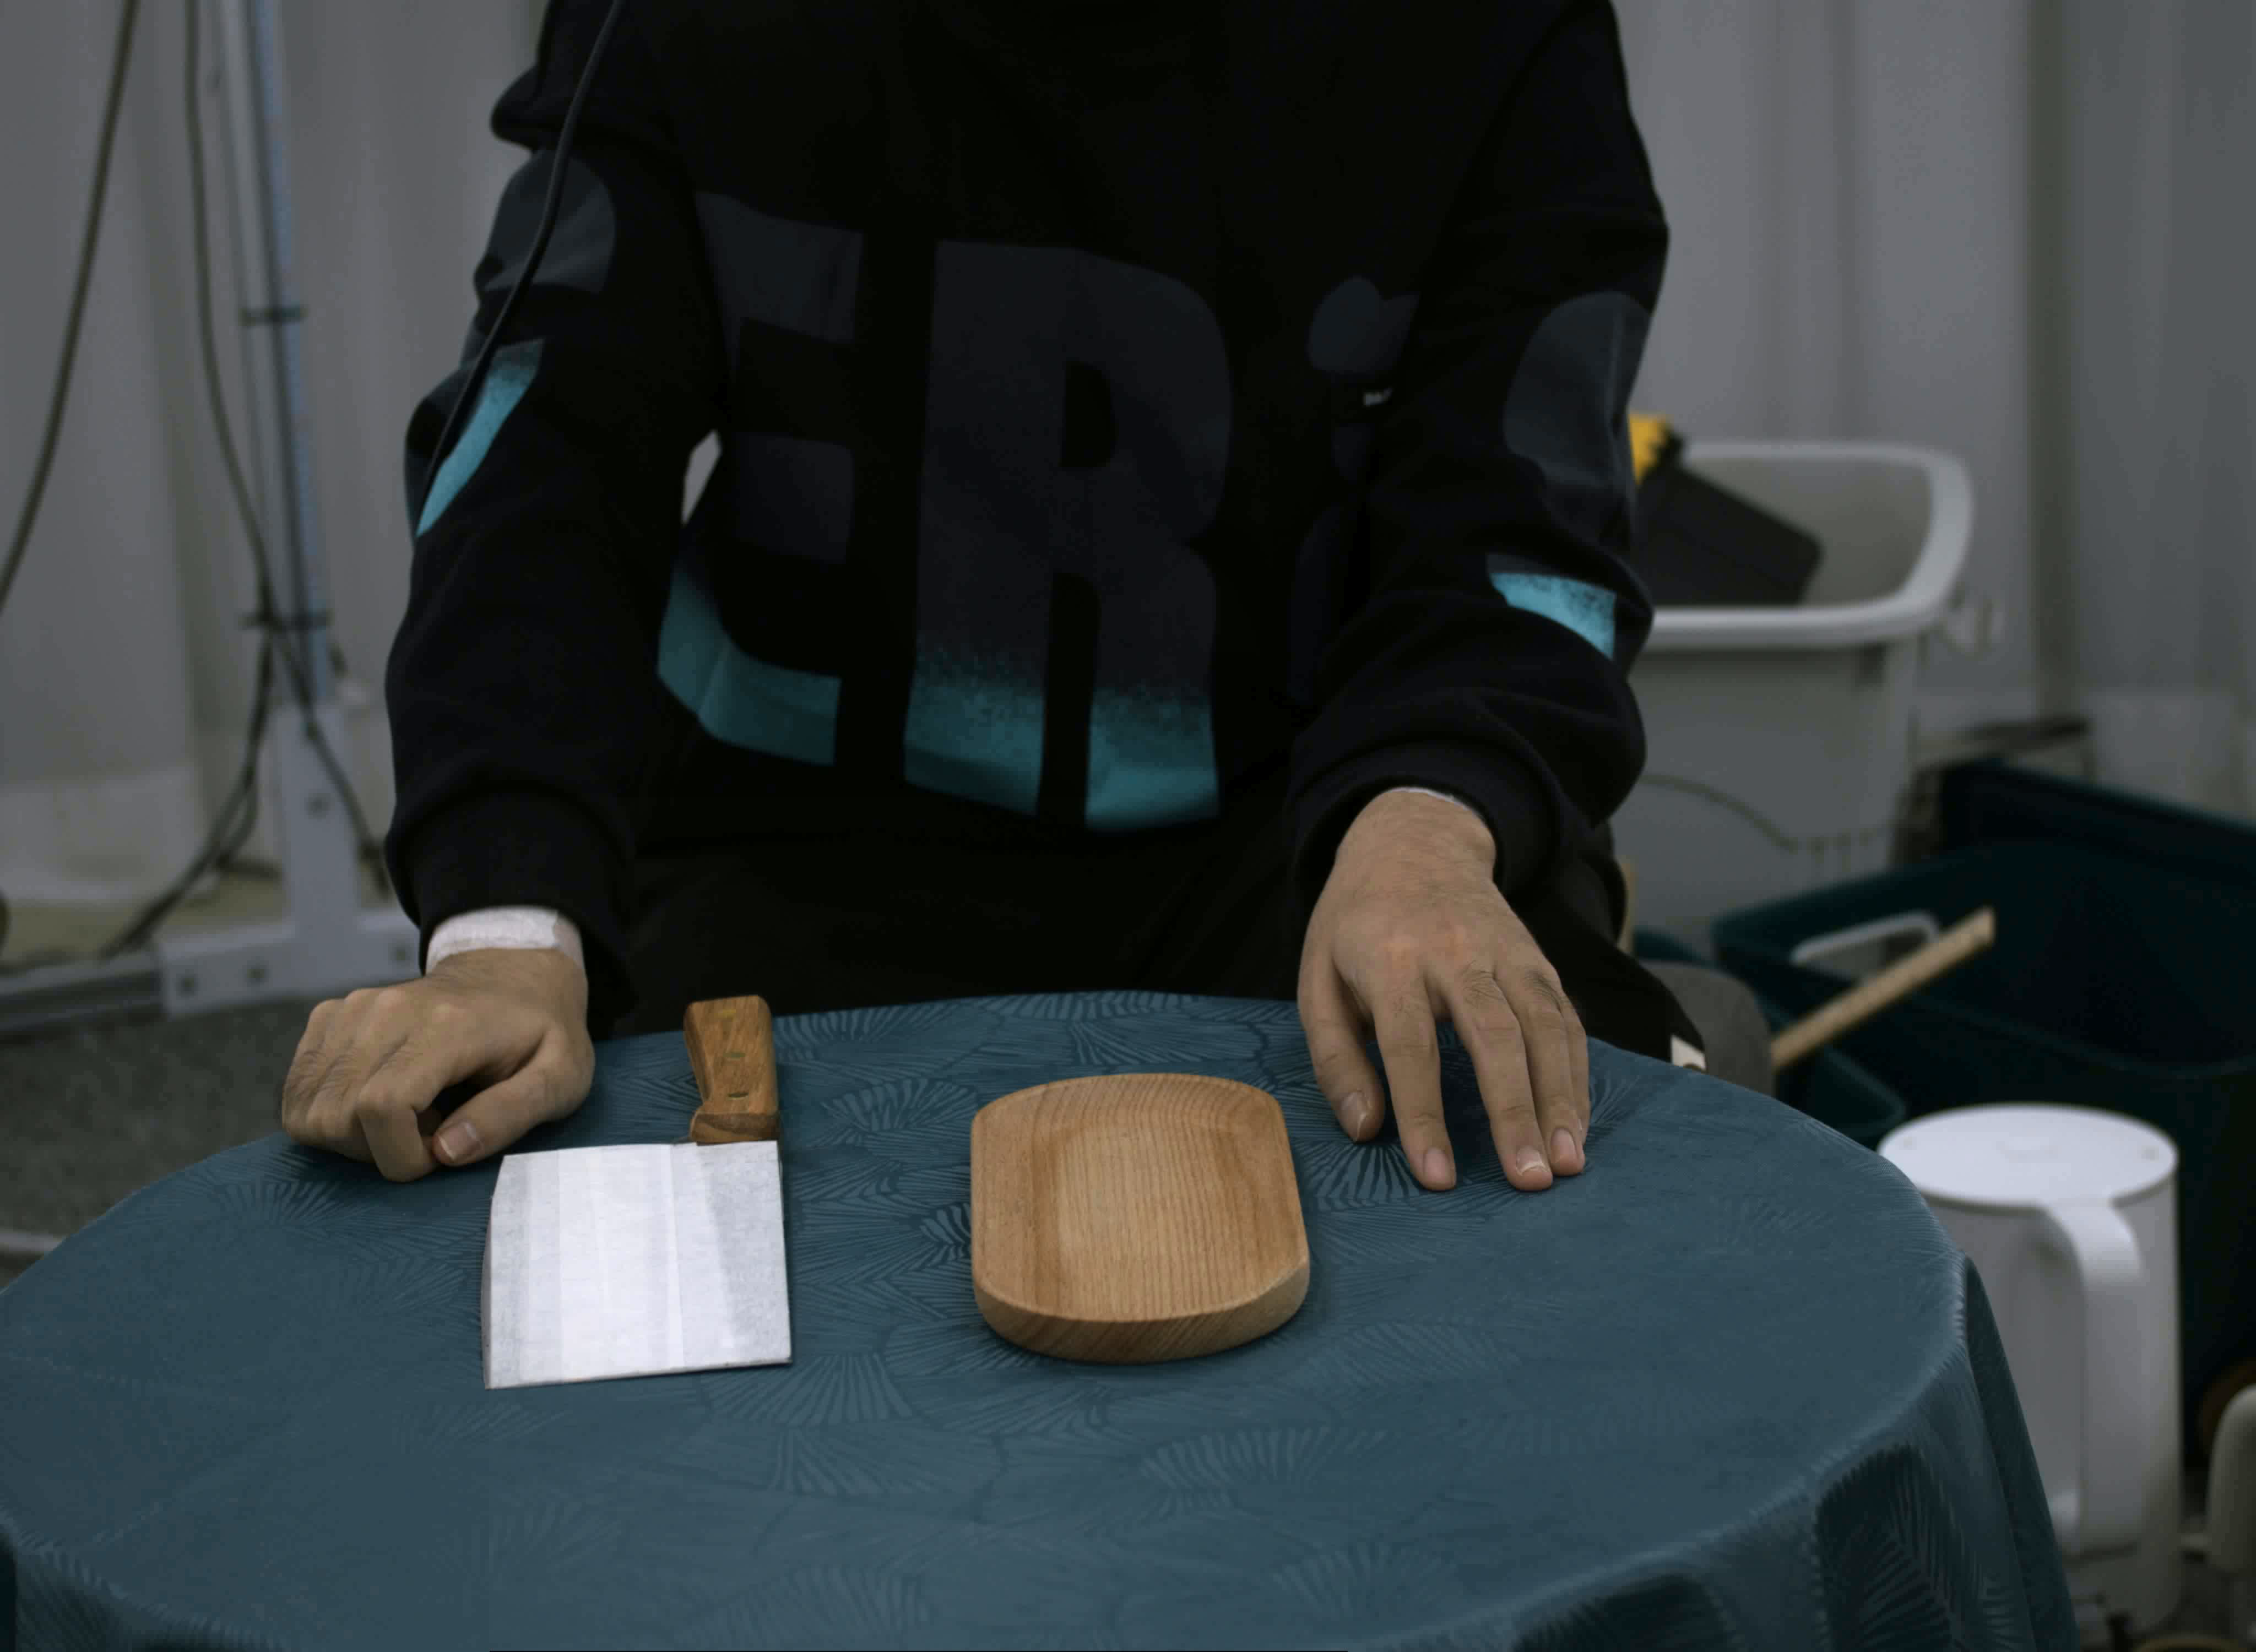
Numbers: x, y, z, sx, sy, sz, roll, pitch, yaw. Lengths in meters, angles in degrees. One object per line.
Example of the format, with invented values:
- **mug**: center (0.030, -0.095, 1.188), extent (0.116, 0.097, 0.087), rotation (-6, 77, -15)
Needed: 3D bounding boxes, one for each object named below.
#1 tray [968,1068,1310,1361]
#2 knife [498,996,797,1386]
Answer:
- **tray**: center (0.002, 0.117, 1.676), extent (0.101, 0.020, 0.233), rotation (-2, 14, -1)
- **knife**: center (-0.152, 0.114, 1.721), extent (0.092, 0.021, 0.308), rotation (-6, 17, -3)
